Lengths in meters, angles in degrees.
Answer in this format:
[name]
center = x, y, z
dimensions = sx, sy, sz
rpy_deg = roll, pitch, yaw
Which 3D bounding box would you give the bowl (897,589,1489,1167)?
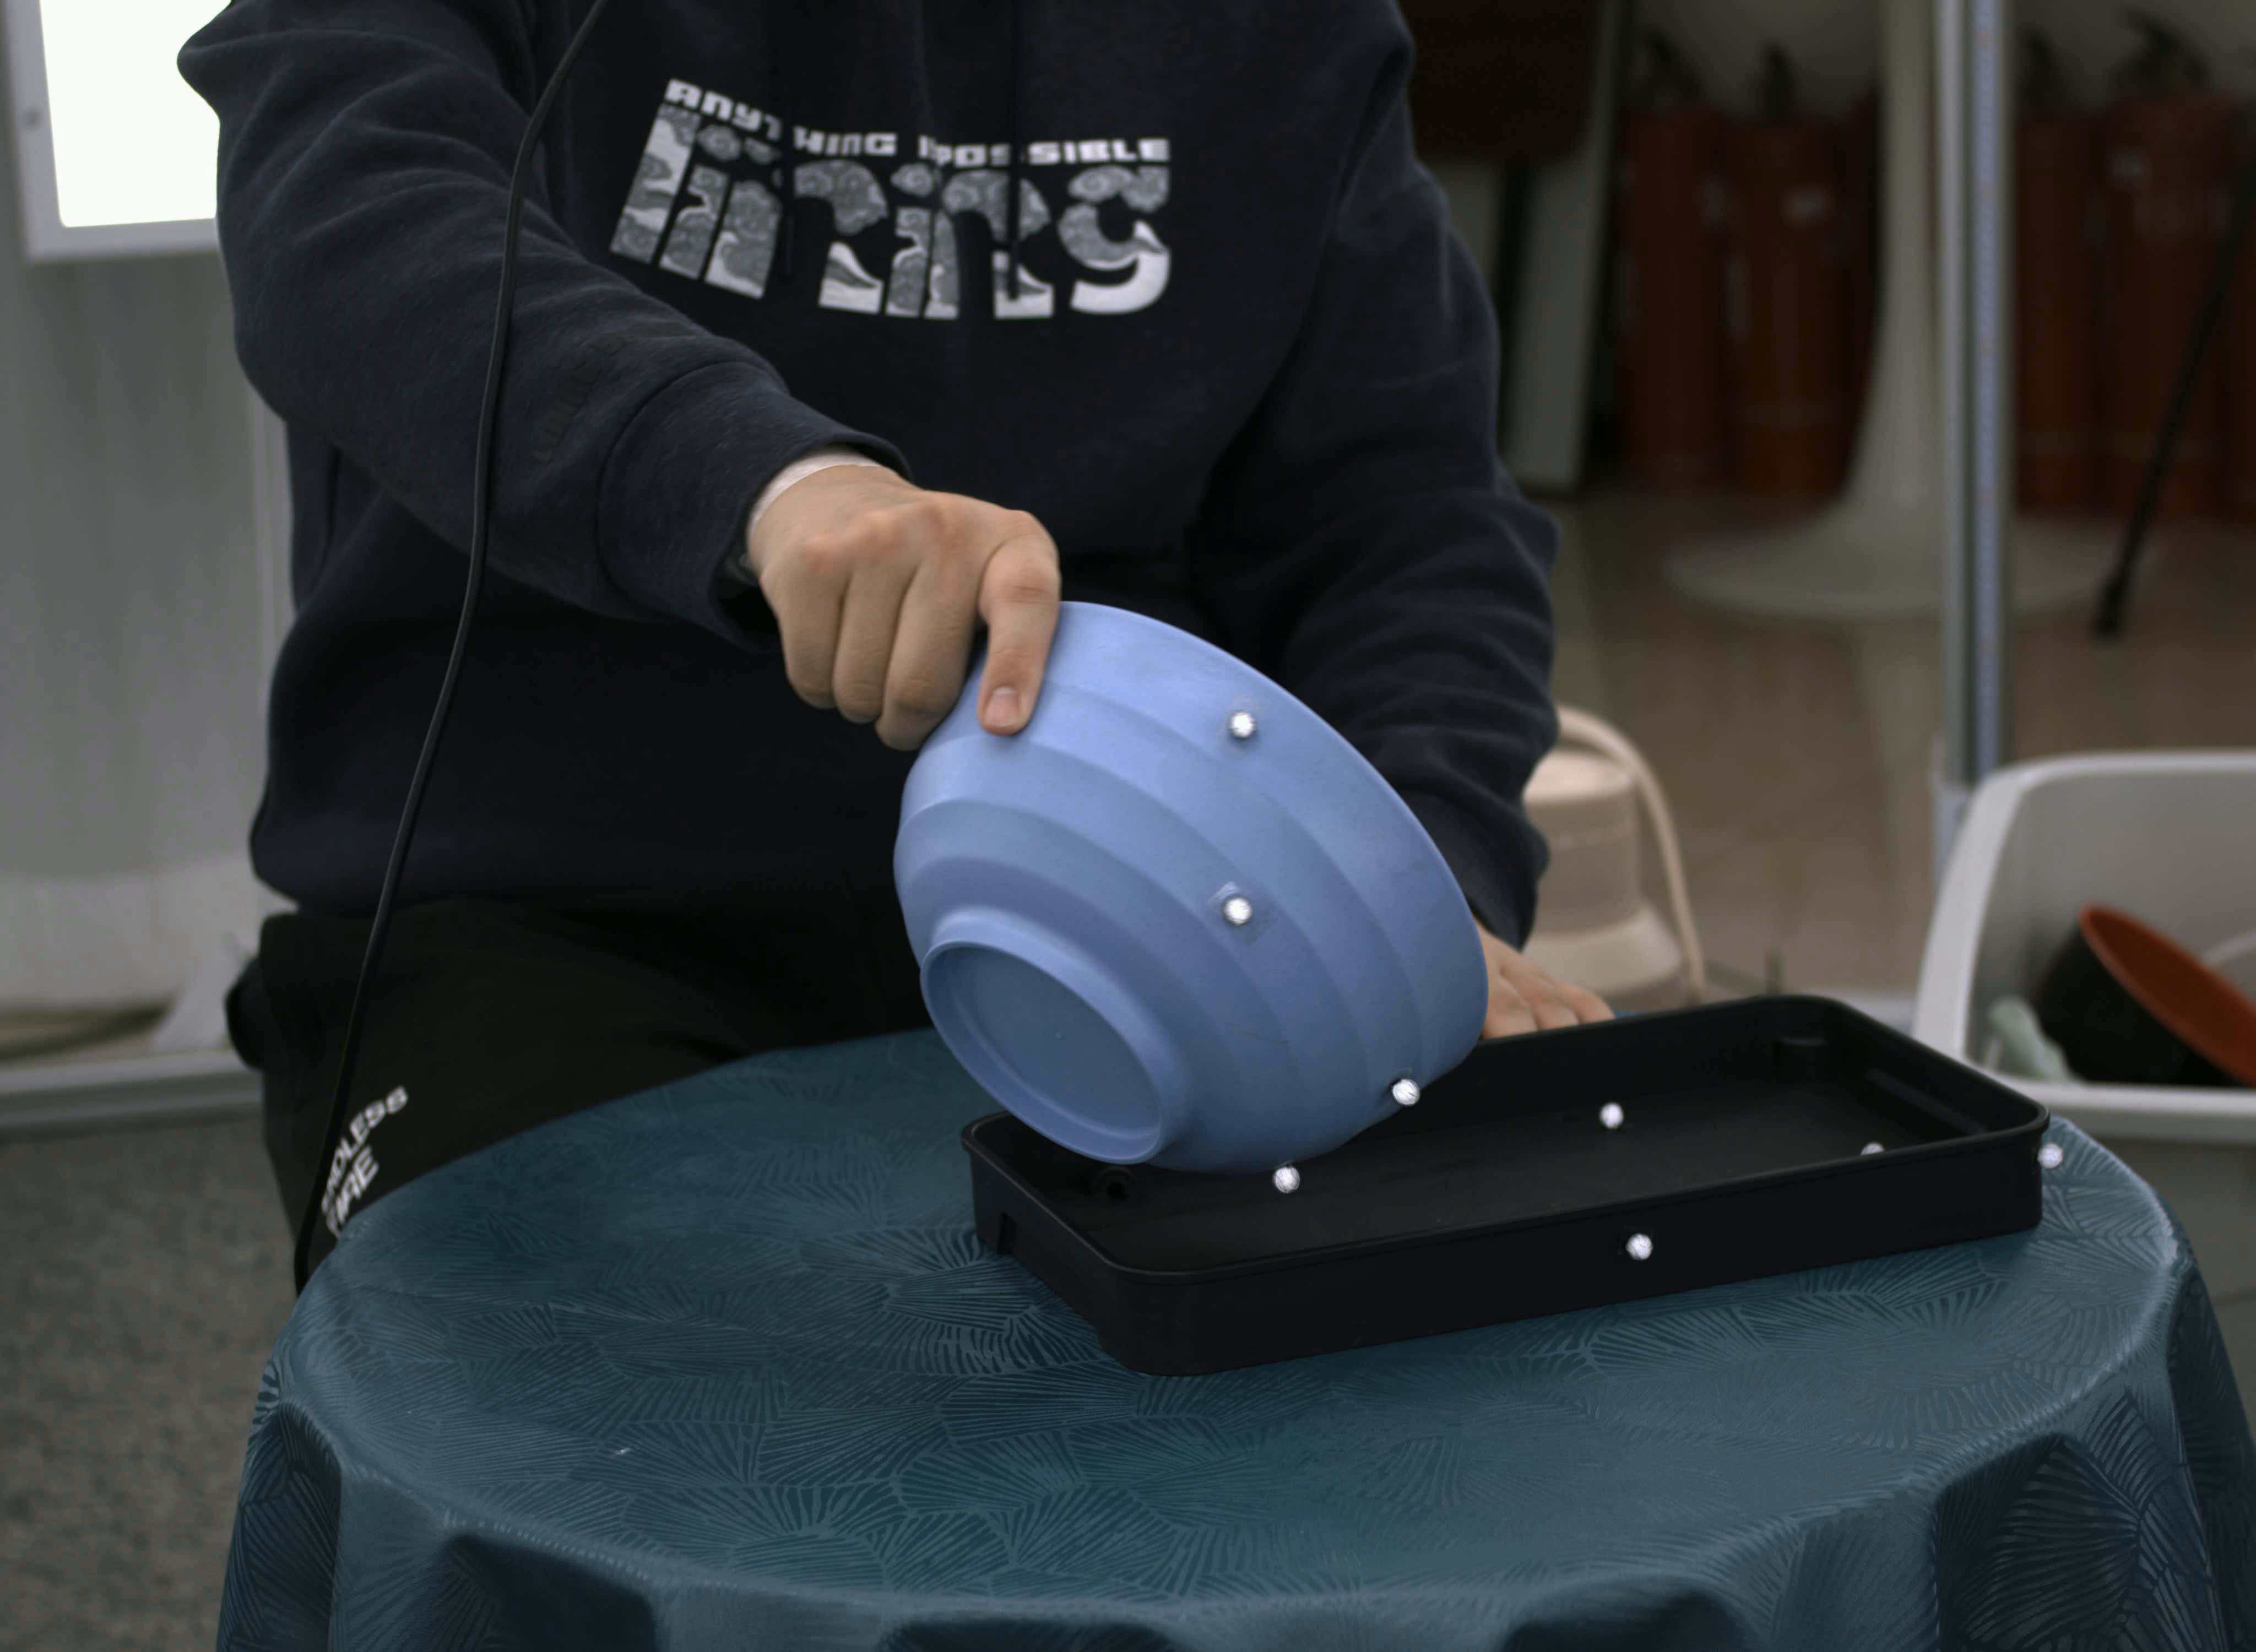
[bowl]
center = 0.002, 0.033, 1.611
dimensions = 0.198, 0.195, 0.095
rpy_deg = 12, 51, 47

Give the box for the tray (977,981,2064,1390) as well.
[tray]
center = 0.124, 0.110, 1.714
dimensions = 0.311, 0.037, 0.186
rpy_deg = -10, 14, -18
